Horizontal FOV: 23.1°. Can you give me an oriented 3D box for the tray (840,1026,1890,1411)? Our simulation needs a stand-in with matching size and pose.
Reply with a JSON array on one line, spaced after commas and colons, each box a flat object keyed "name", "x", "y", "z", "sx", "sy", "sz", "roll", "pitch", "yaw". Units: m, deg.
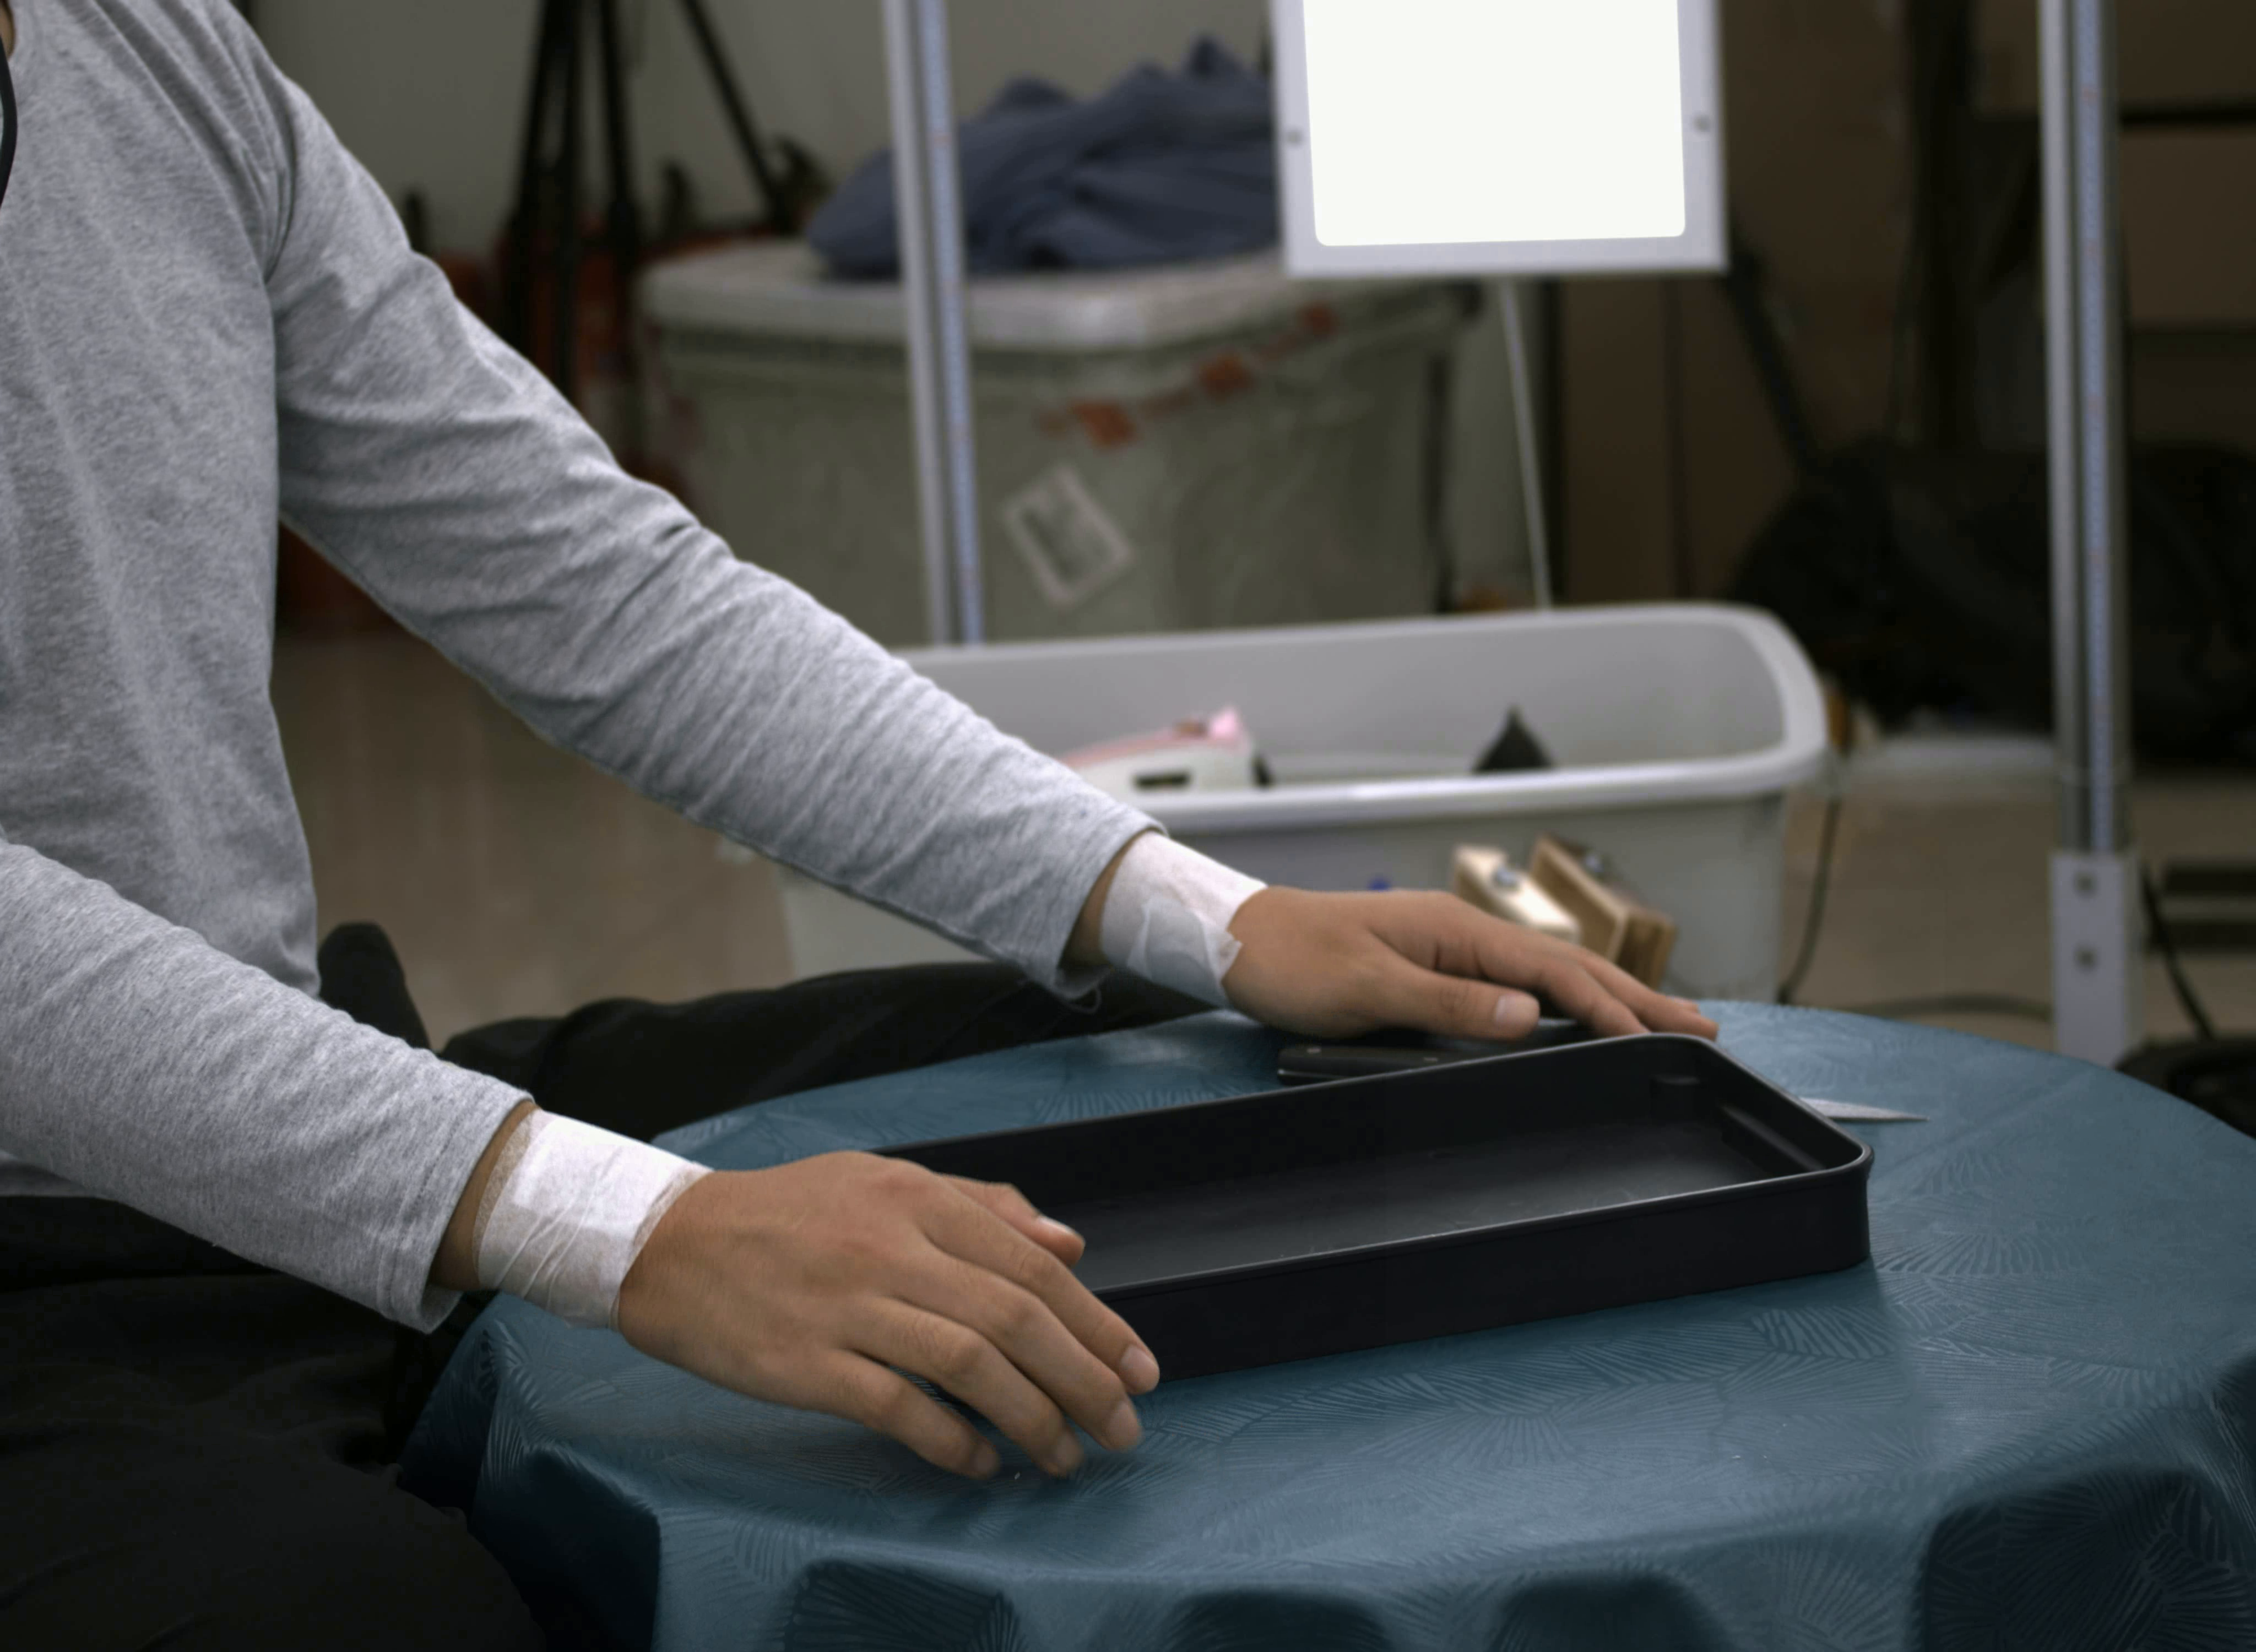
[{"name": "tray", "x": 0.077, "y": 0.125, "z": 1.807, "sx": 0.314, "sy": 0.037, "sz": 0.186, "roll": -9, "pitch": 14, "yaw": -13}]

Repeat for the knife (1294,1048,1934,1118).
[{"name": "knife", "x": 0.170, "y": 0.094, "z": 1.949, "sx": 0.241, "sy": 0.016, "sz": 0.024, "roll": 3, "pitch": 13, "yaw": 23}]
